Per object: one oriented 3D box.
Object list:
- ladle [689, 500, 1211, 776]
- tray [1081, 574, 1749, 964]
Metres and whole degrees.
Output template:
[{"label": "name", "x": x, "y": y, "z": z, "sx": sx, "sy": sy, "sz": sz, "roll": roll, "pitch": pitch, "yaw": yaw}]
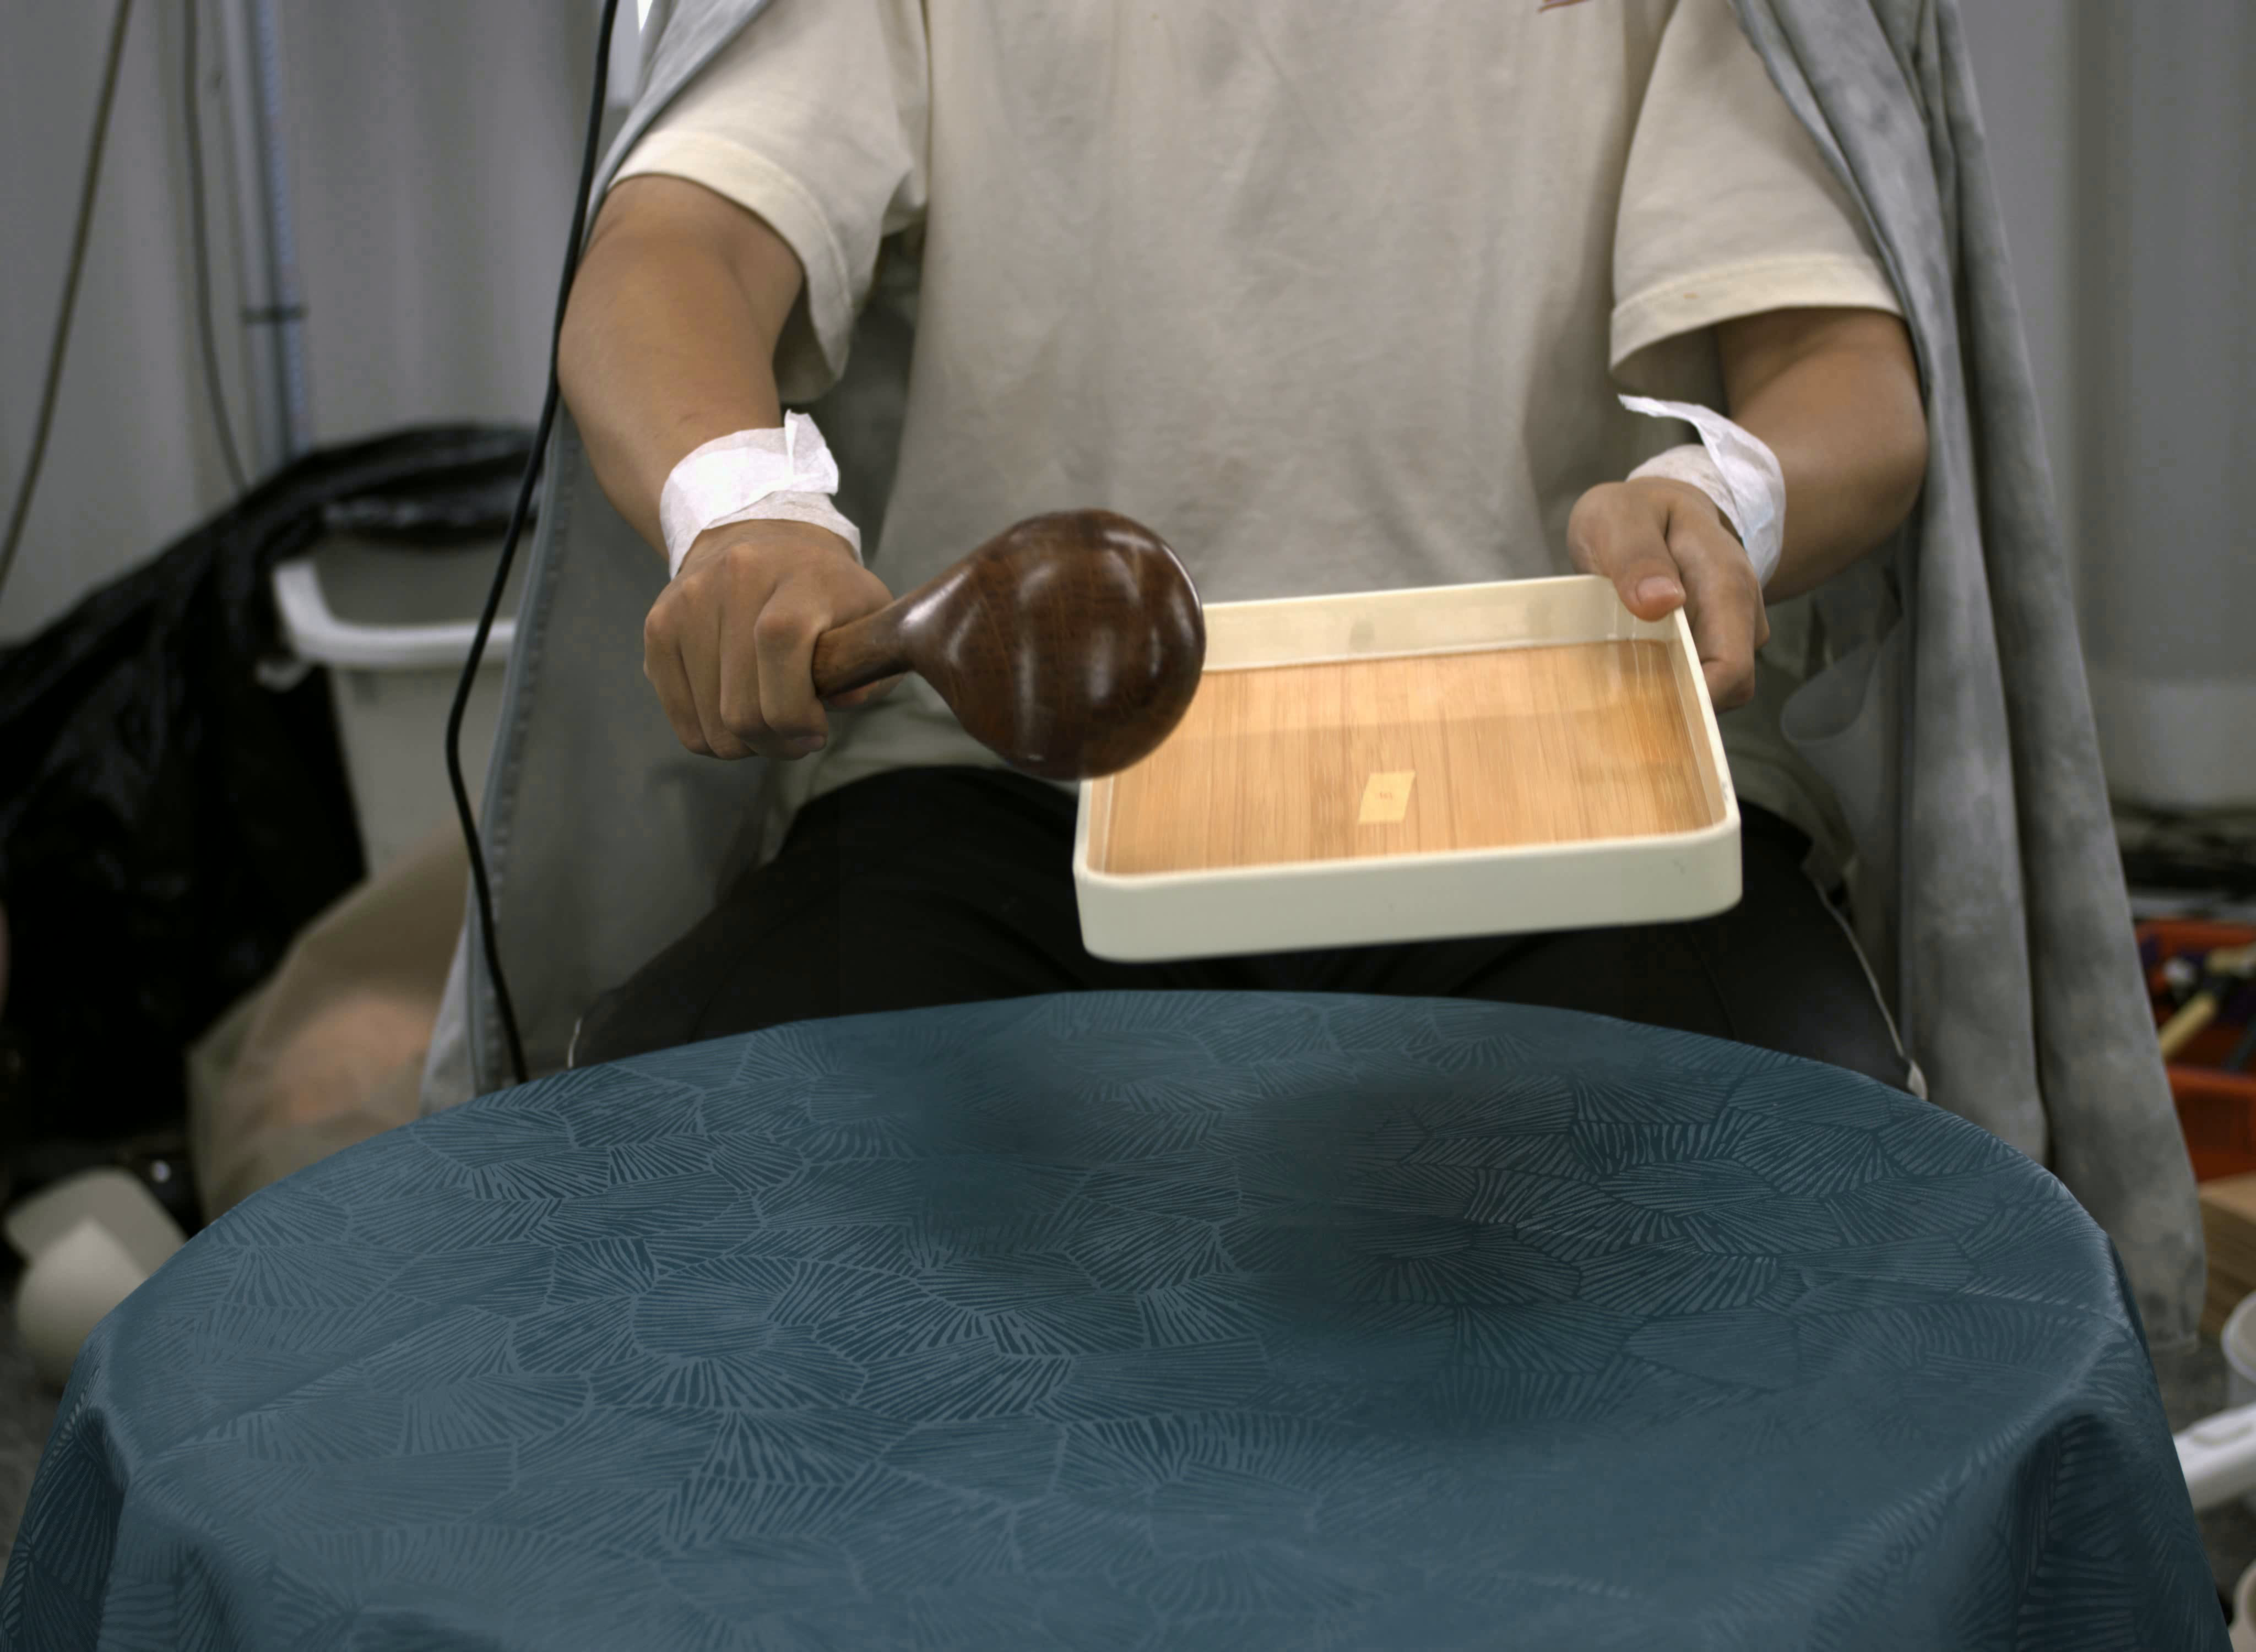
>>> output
[{"label": "ladle", "x": -0.057, "y": -0.048, "z": 1.681, "sx": 0.076, "sy": 0.082, "sz": 0.274, "roll": 21, "pitch": -12, "yaw": -19}, {"label": "tray", "x": 0.085, "y": -0.021, "z": 1.678, "sx": 0.191, "sy": 0.027, "sz": 0.302, "roll": -5, "pitch": 17, "yaw": 3}]
